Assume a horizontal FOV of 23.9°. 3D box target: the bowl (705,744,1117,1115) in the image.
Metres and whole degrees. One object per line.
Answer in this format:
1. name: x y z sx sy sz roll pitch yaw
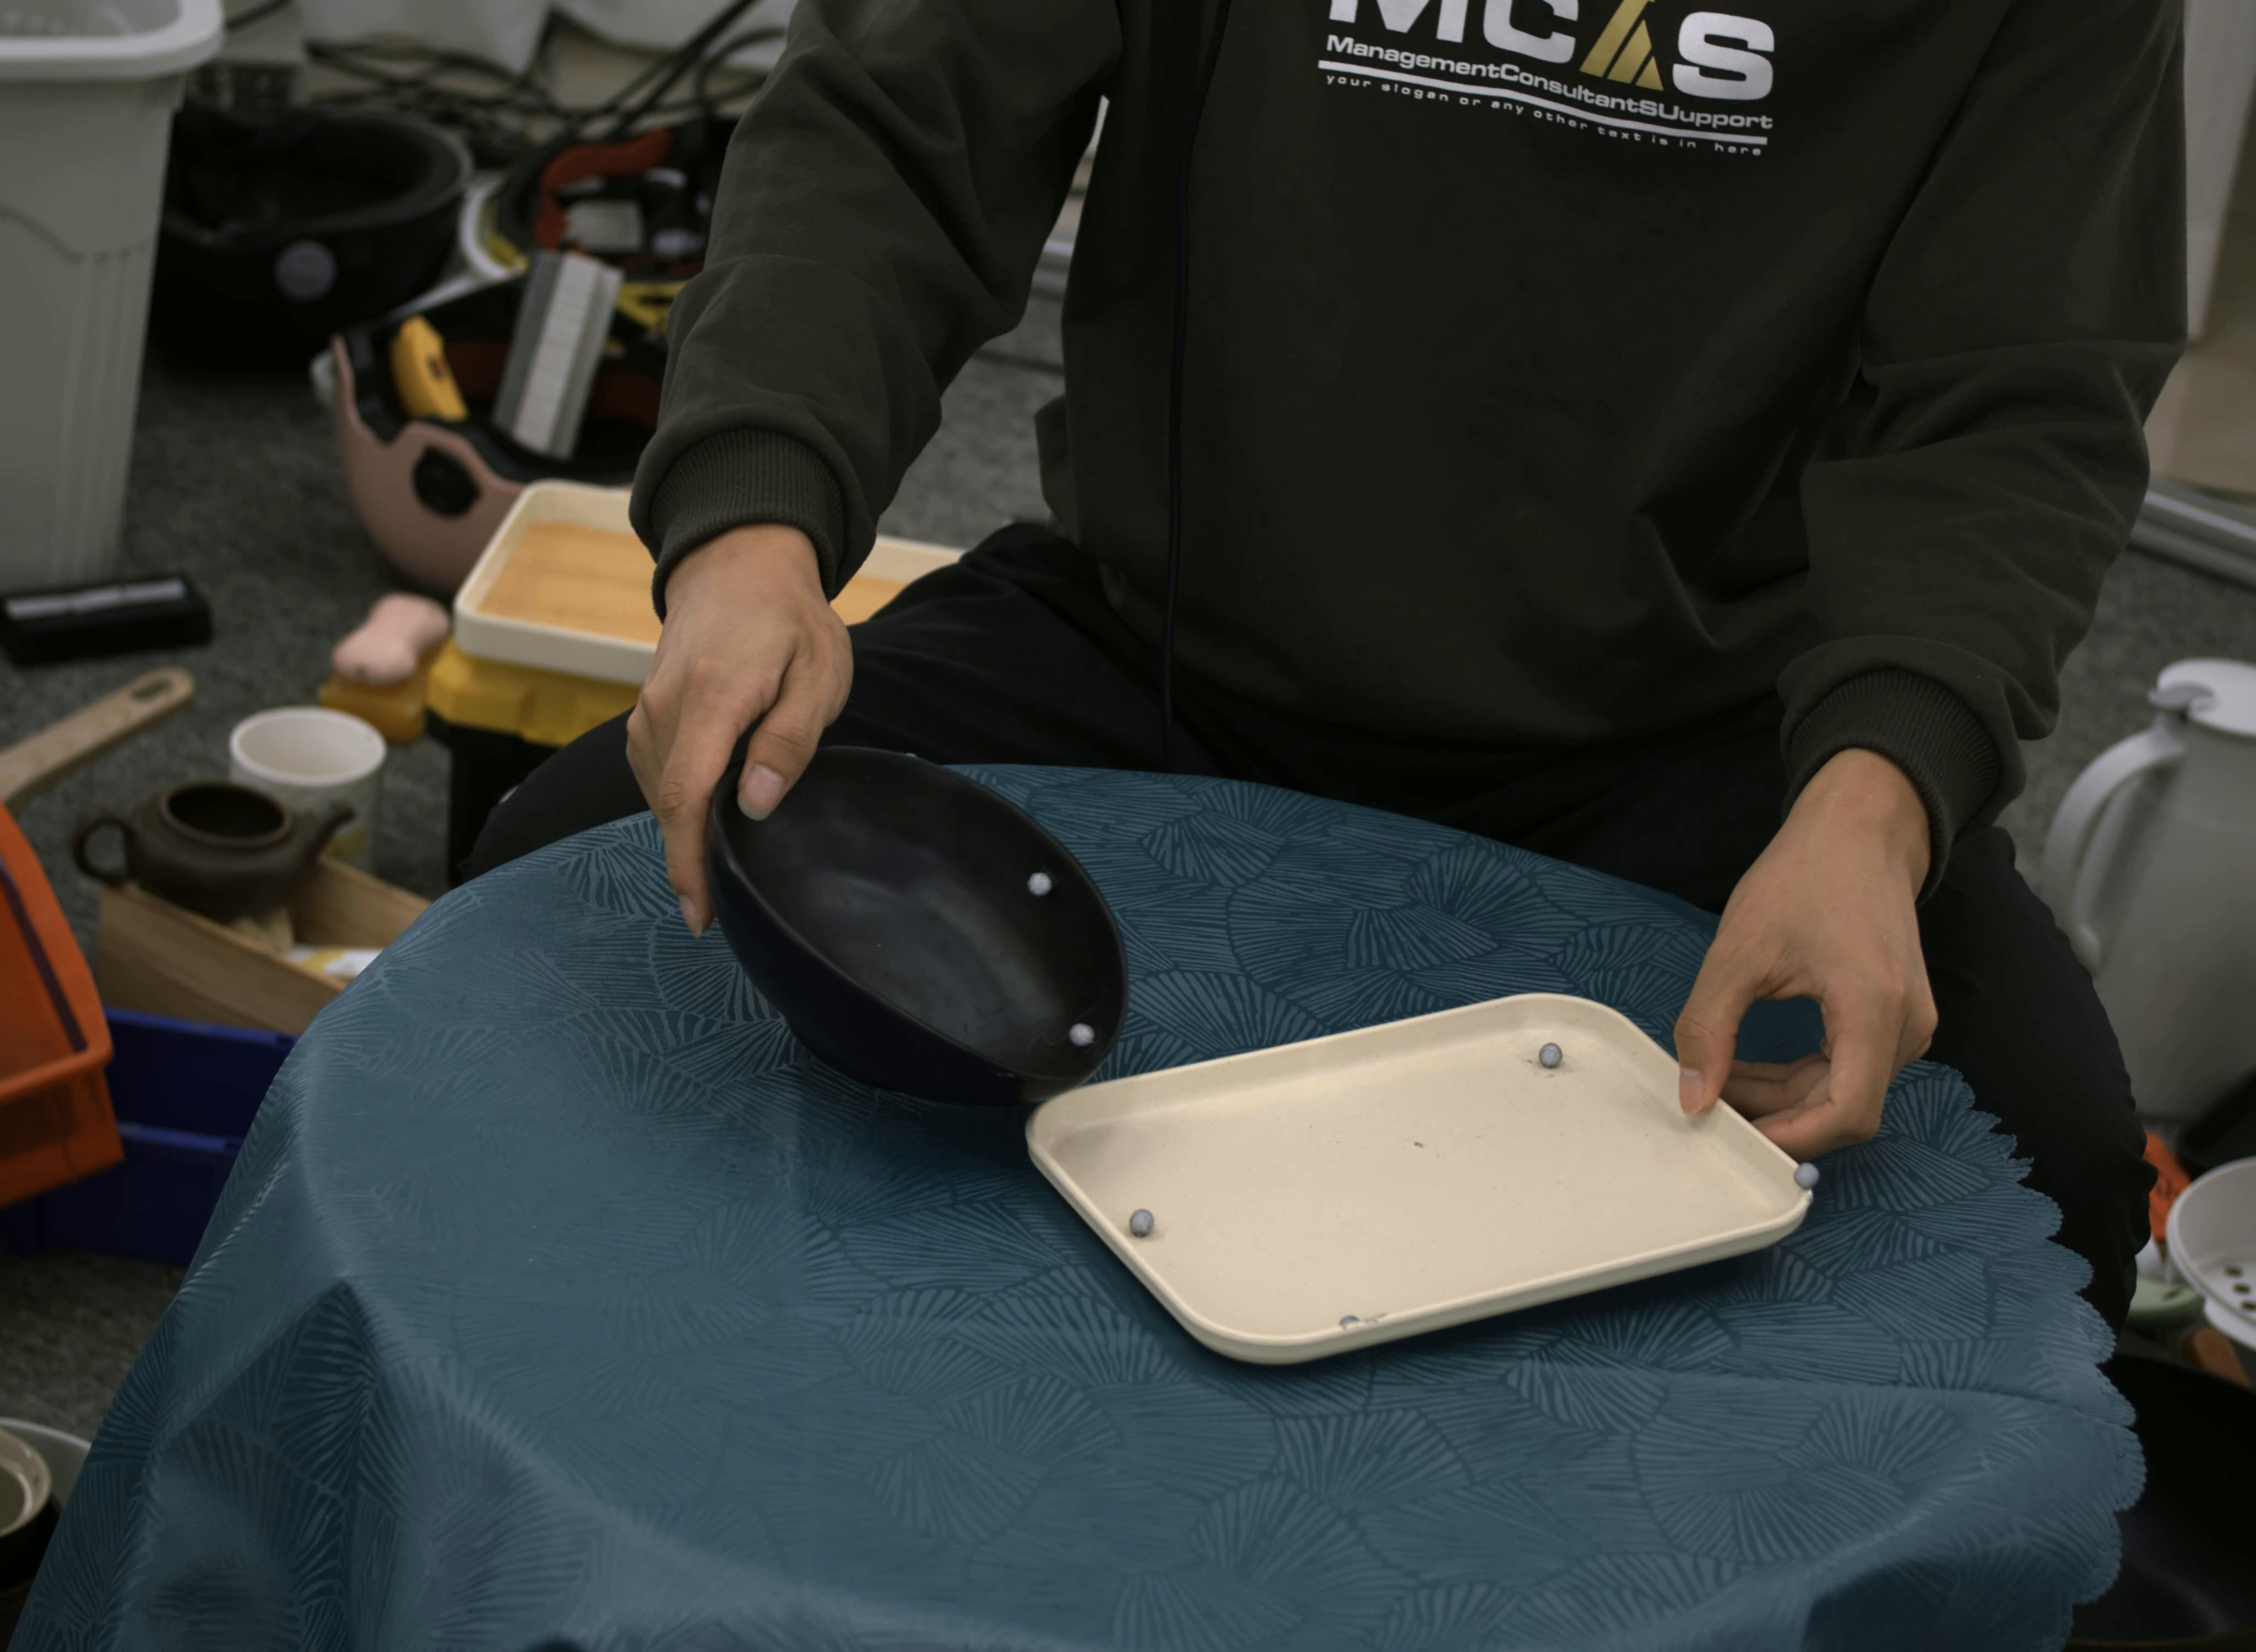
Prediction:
1. bowl: -0.081 0.046 1.844 0.171 0.066 0.137 42 37 21

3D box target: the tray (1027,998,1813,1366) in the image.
1. tray: 0.098 0.120 1.806 0.238 0.017 0.173 -11 30 -26
